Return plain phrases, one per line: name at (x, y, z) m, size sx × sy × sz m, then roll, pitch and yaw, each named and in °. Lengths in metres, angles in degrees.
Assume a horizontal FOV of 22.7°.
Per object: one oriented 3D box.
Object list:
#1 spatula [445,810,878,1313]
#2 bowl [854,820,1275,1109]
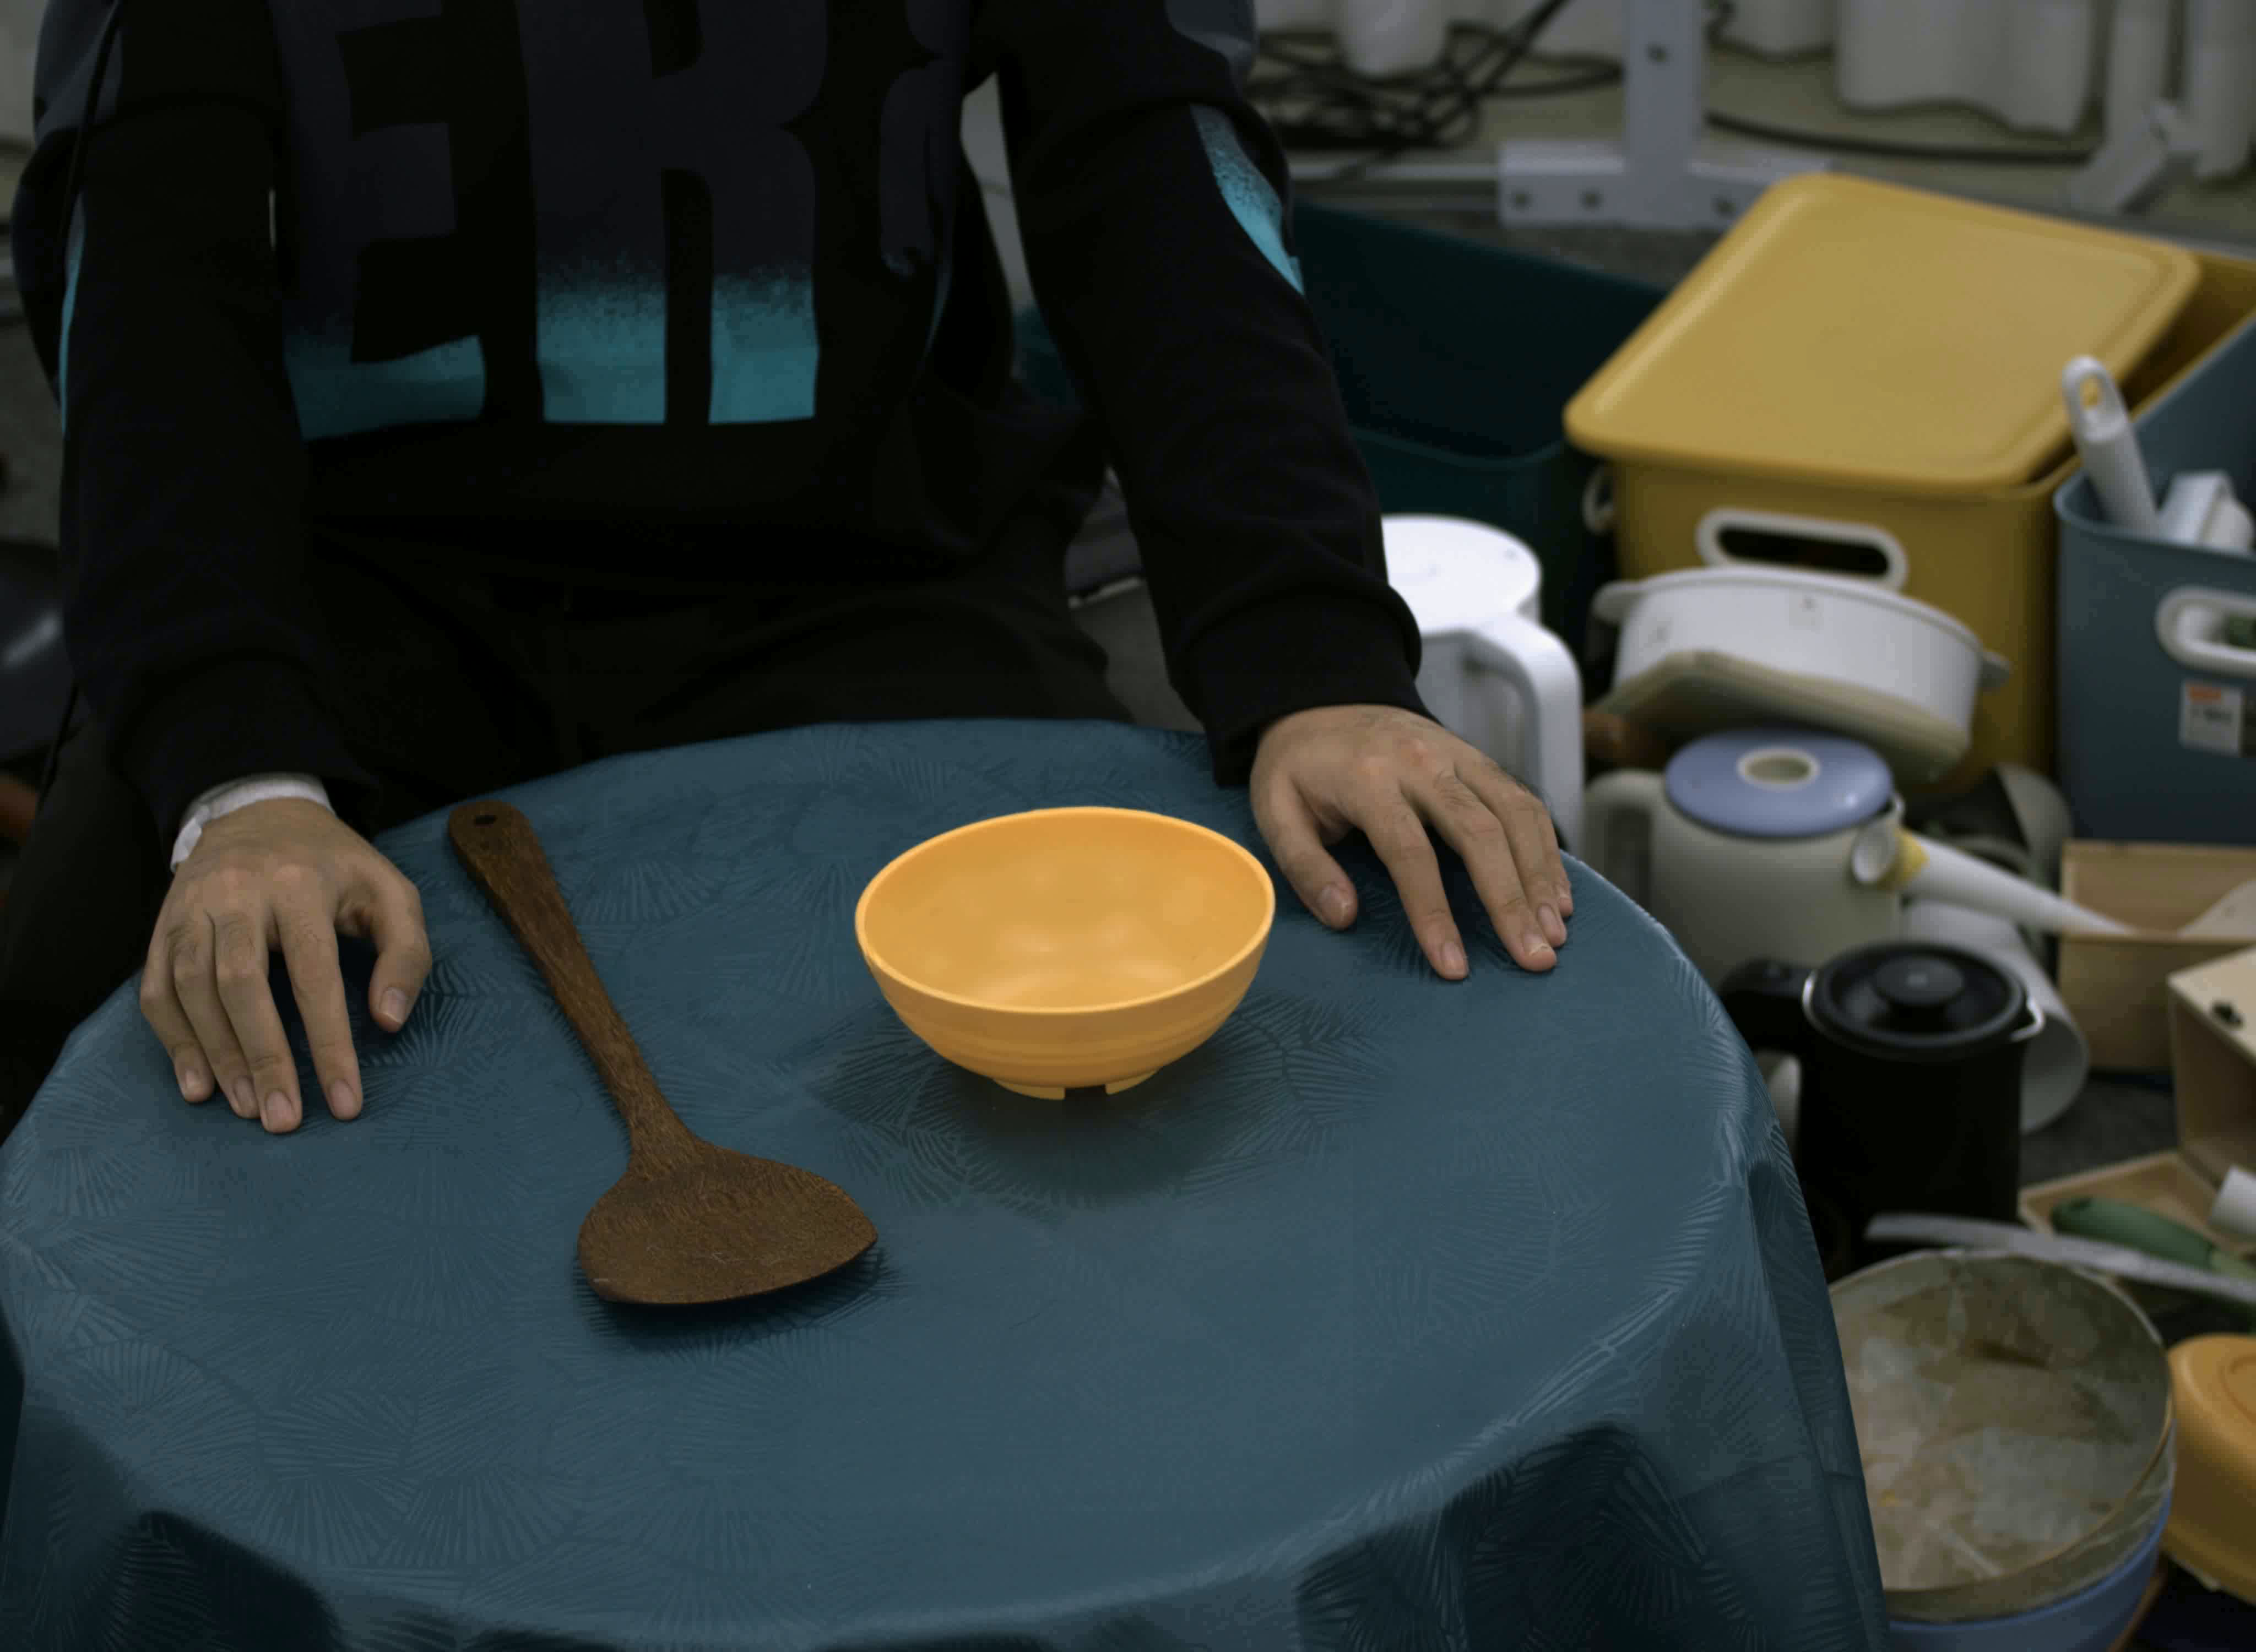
spatula at (-0.183, 0.074, 1.958) m, size 0.096 × 0.015 × 0.389 m, roll -11°, pitch 28°, yaw -16°
bowl at (-0.021, 0.056, 1.932) m, size 0.144 × 0.059 × 0.147 m, roll 0°, pitch 25°, yaw 0°
